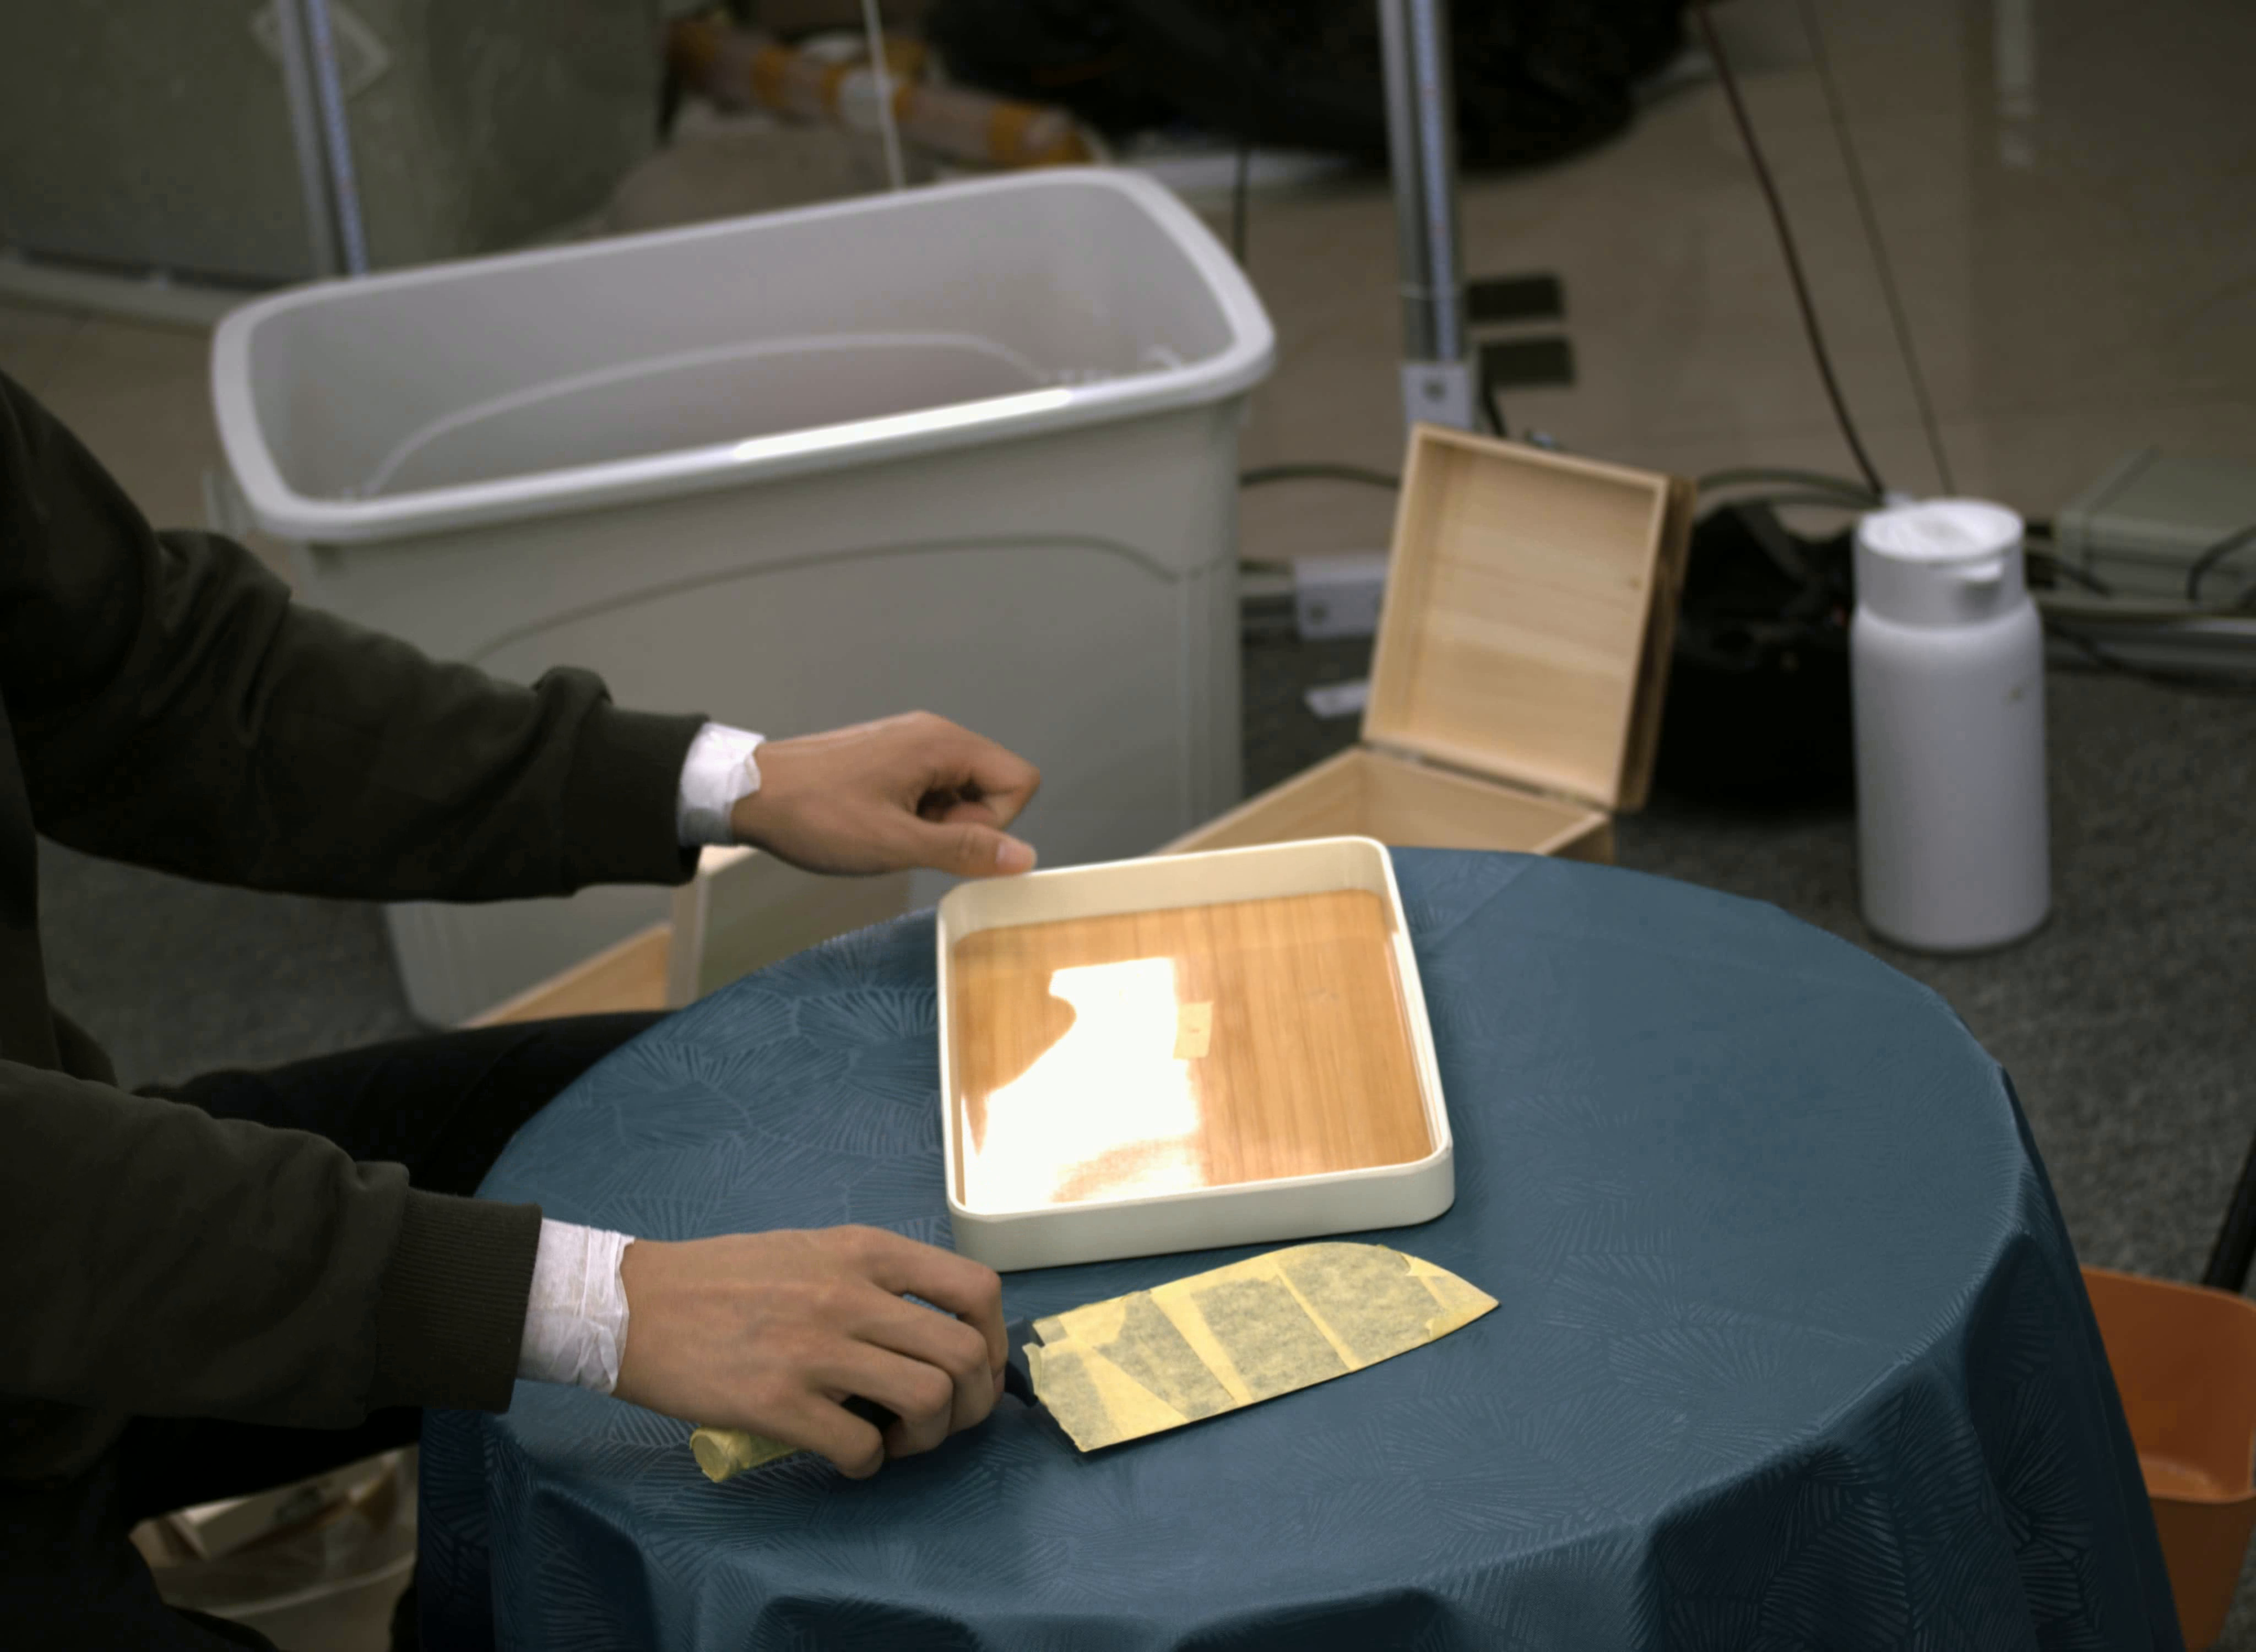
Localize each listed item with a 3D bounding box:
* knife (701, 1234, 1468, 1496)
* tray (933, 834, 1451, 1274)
[{"bbox_3d":[-0.011,0.193,2.010,0.288,0.028,0.080,-14,36,-18],"label":"knife"},{"bbox_3d":[0.020,0.085,2.230,0.191,0.028,0.296,-7,24,1],"label":"tray"}]
